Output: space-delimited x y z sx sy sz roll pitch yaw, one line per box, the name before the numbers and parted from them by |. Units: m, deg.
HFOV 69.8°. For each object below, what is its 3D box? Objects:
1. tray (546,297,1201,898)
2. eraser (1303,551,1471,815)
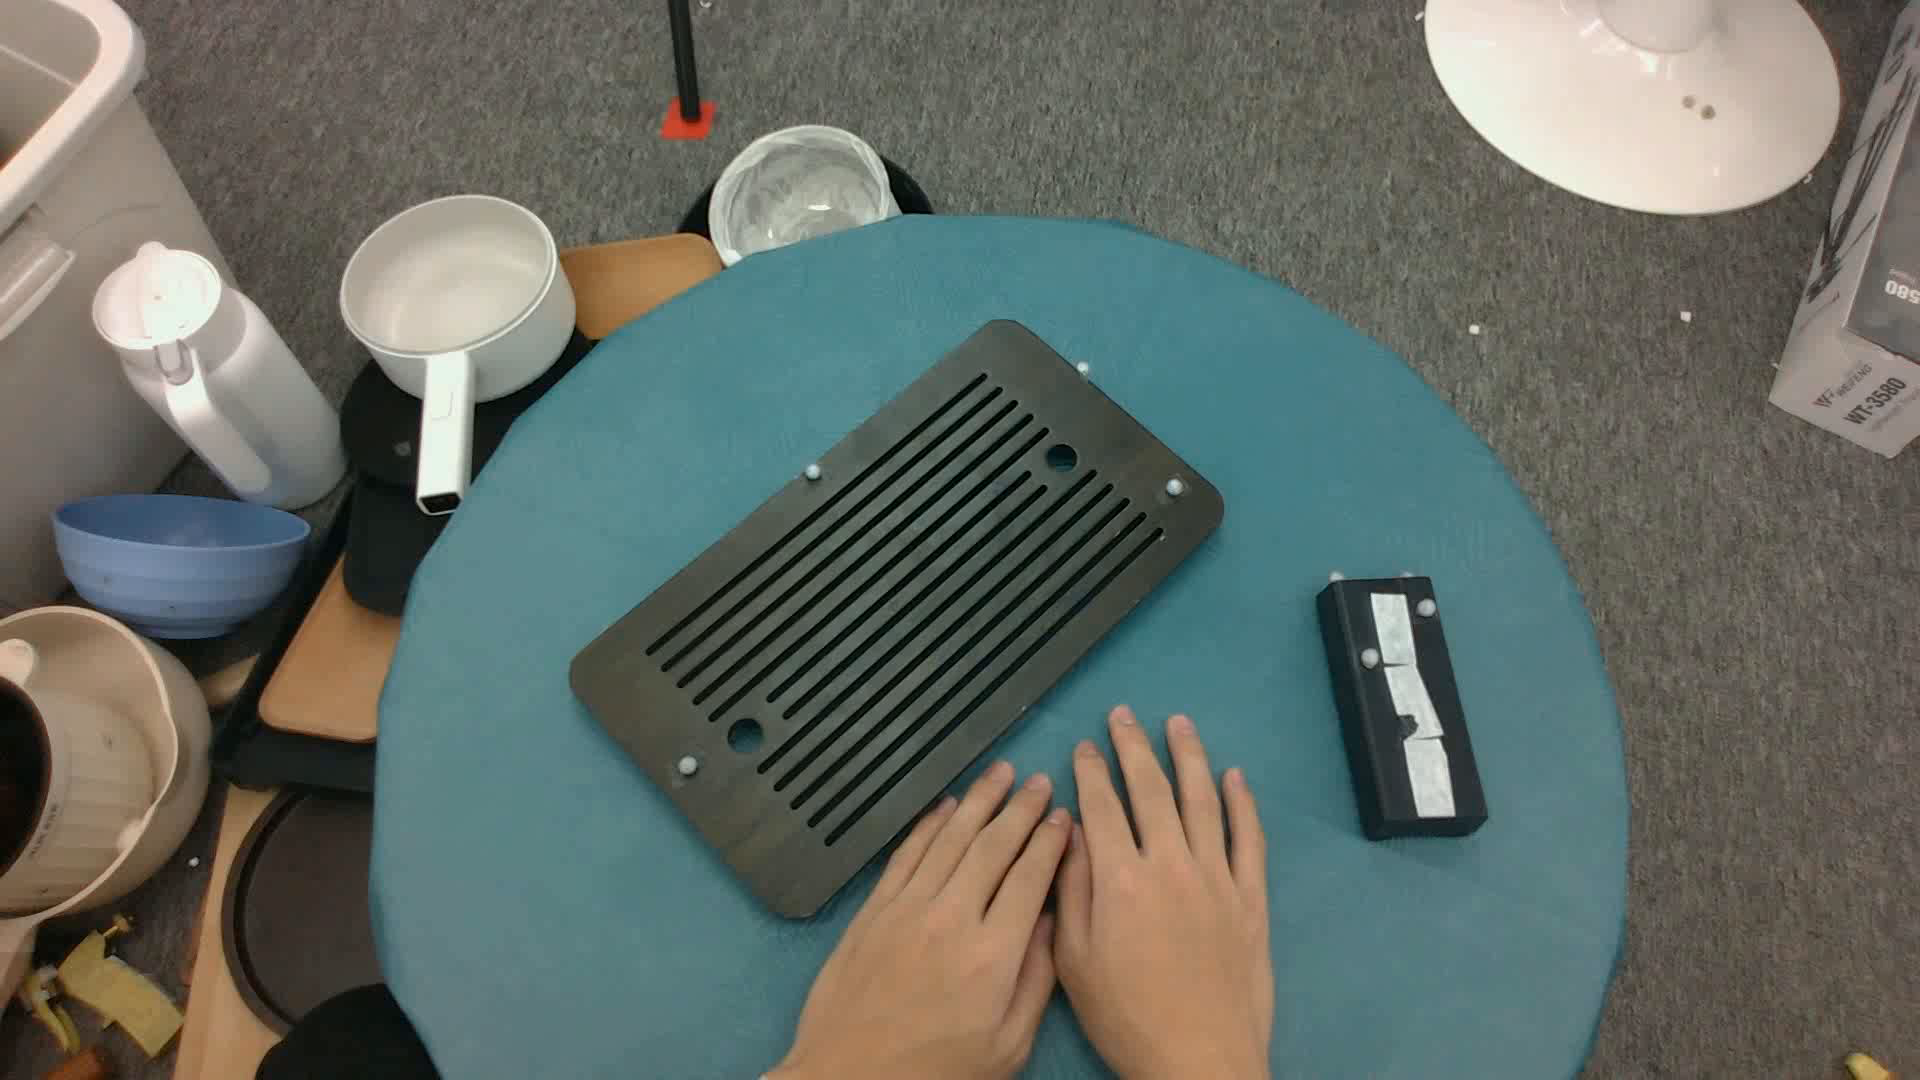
tray | -0.036 0.015 0.684 0.170 0.018 0.307 43 69 16
eraser | 0.204 0.069 0.667 0.053 0.030 0.126 -5 66 -3
